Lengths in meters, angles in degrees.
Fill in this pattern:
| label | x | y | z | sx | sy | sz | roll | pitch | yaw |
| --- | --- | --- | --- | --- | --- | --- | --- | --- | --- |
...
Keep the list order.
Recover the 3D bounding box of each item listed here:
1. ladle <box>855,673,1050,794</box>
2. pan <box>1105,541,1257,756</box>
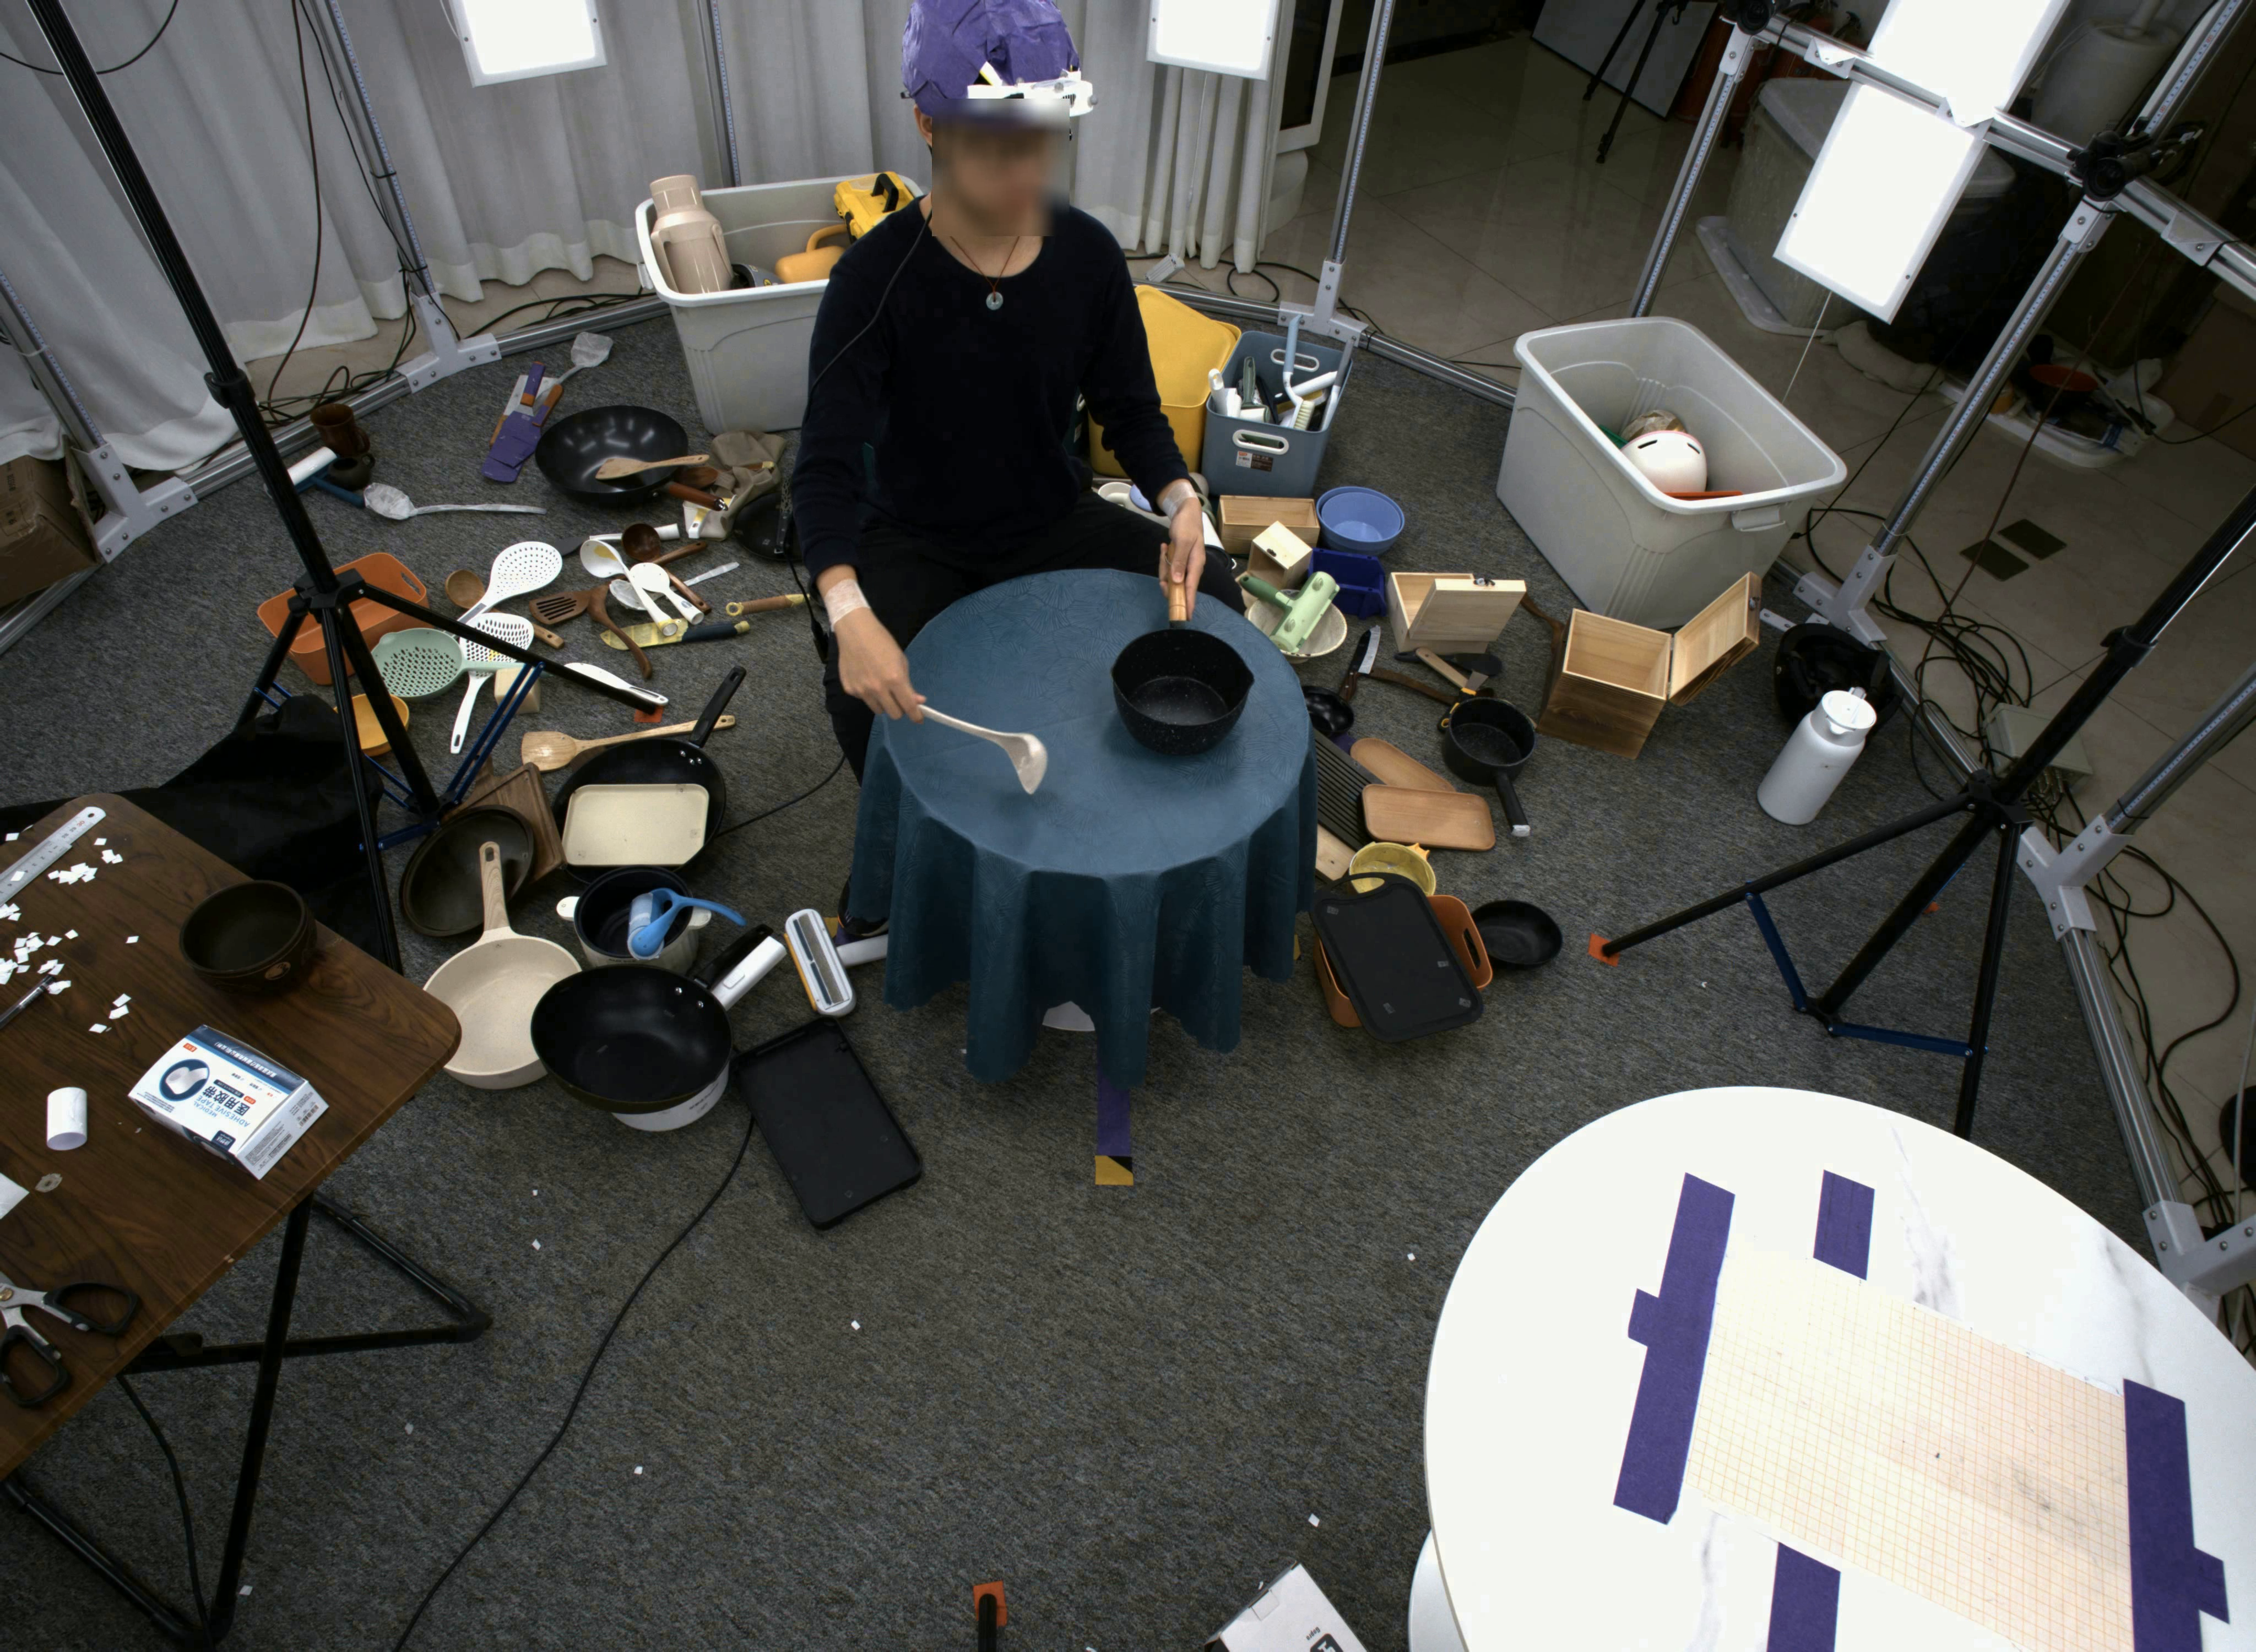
| label | x | y | z | sx | sy | sz | roll | pitch | yaw |
| --- | --- | --- | --- | --- | --- | --- | --- | --- | --- |
| ladle | -0.231 | -0.120 | 1.647 | 0.274 | 0.088 | 0.070 | 20 | 65 | -1 |
| pan | 0.069 | -0.250 | 1.815 | 0.207 | 0.105 | 0.351 | 0 | 52 | -3 |
